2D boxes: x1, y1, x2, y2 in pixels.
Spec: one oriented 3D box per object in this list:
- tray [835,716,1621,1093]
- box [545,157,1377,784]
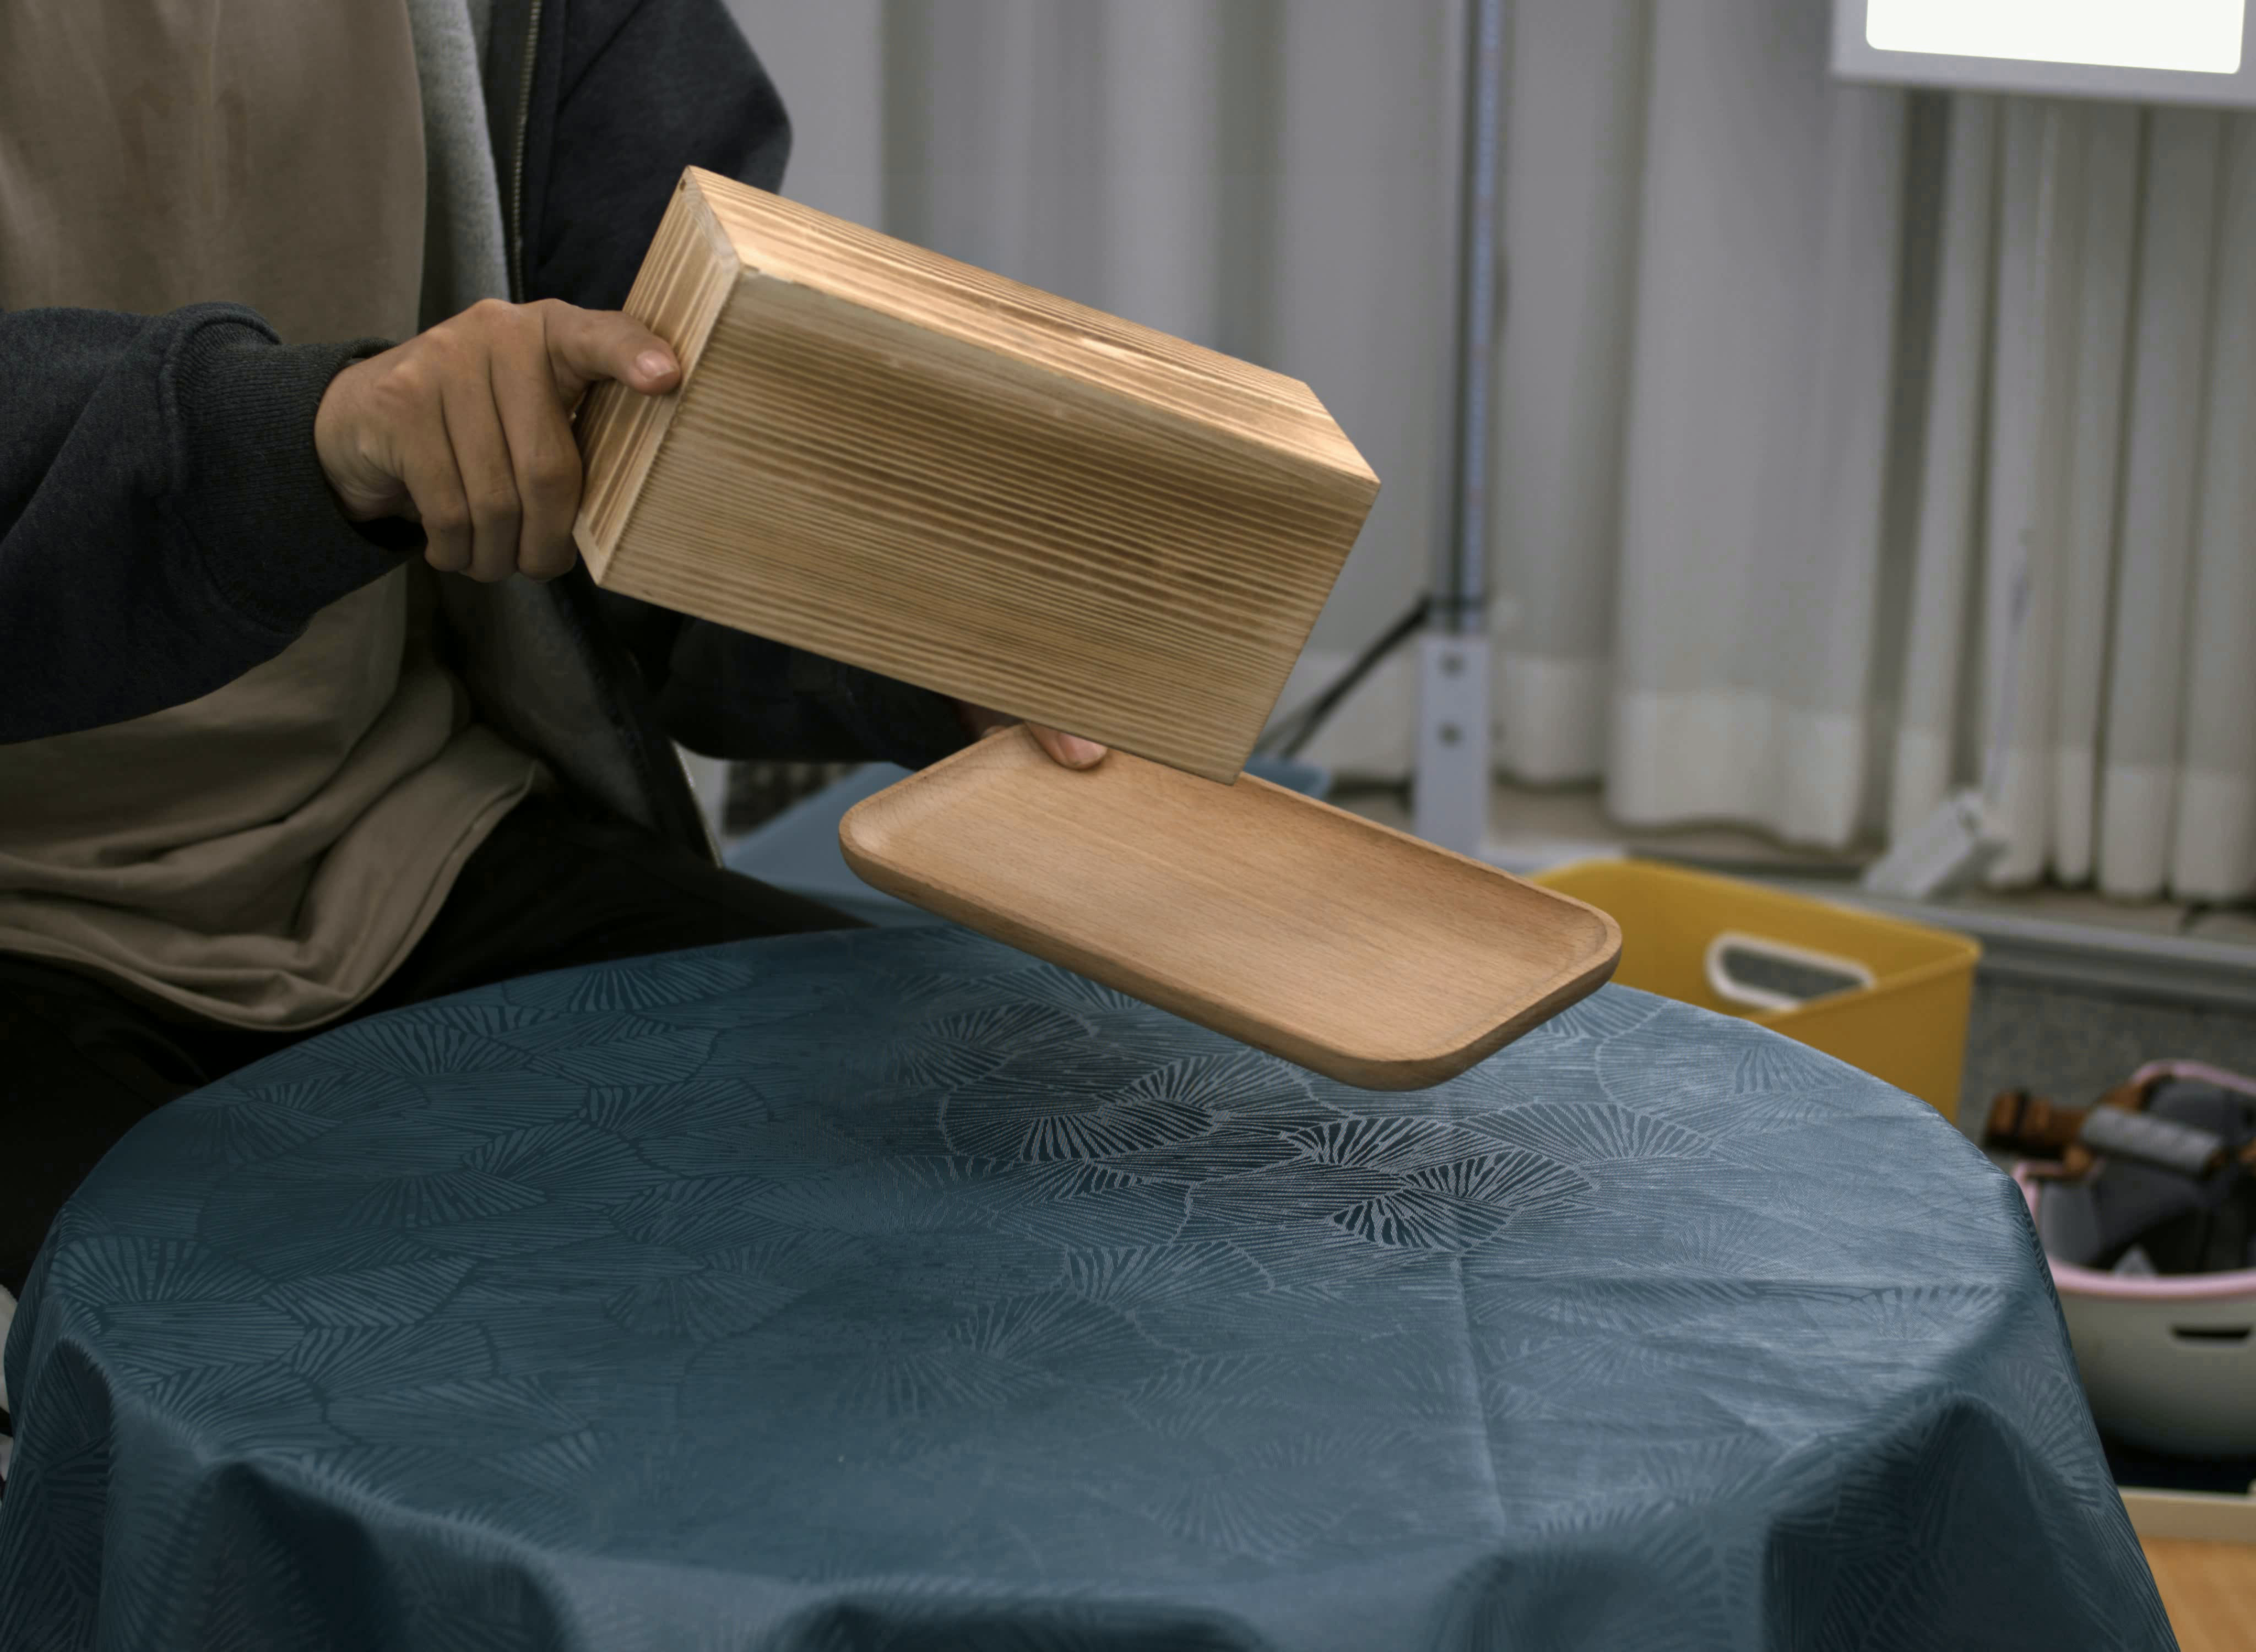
[{"bbox_3d":[0.029,0.022,1.669,0.247,0.023,0.131,21,31,36],"label":"tray"},{"bbox_3d":[-0.049,-0.103,1.545,0.213,0.108,0.079,18,21,-25],"label":"box"}]
